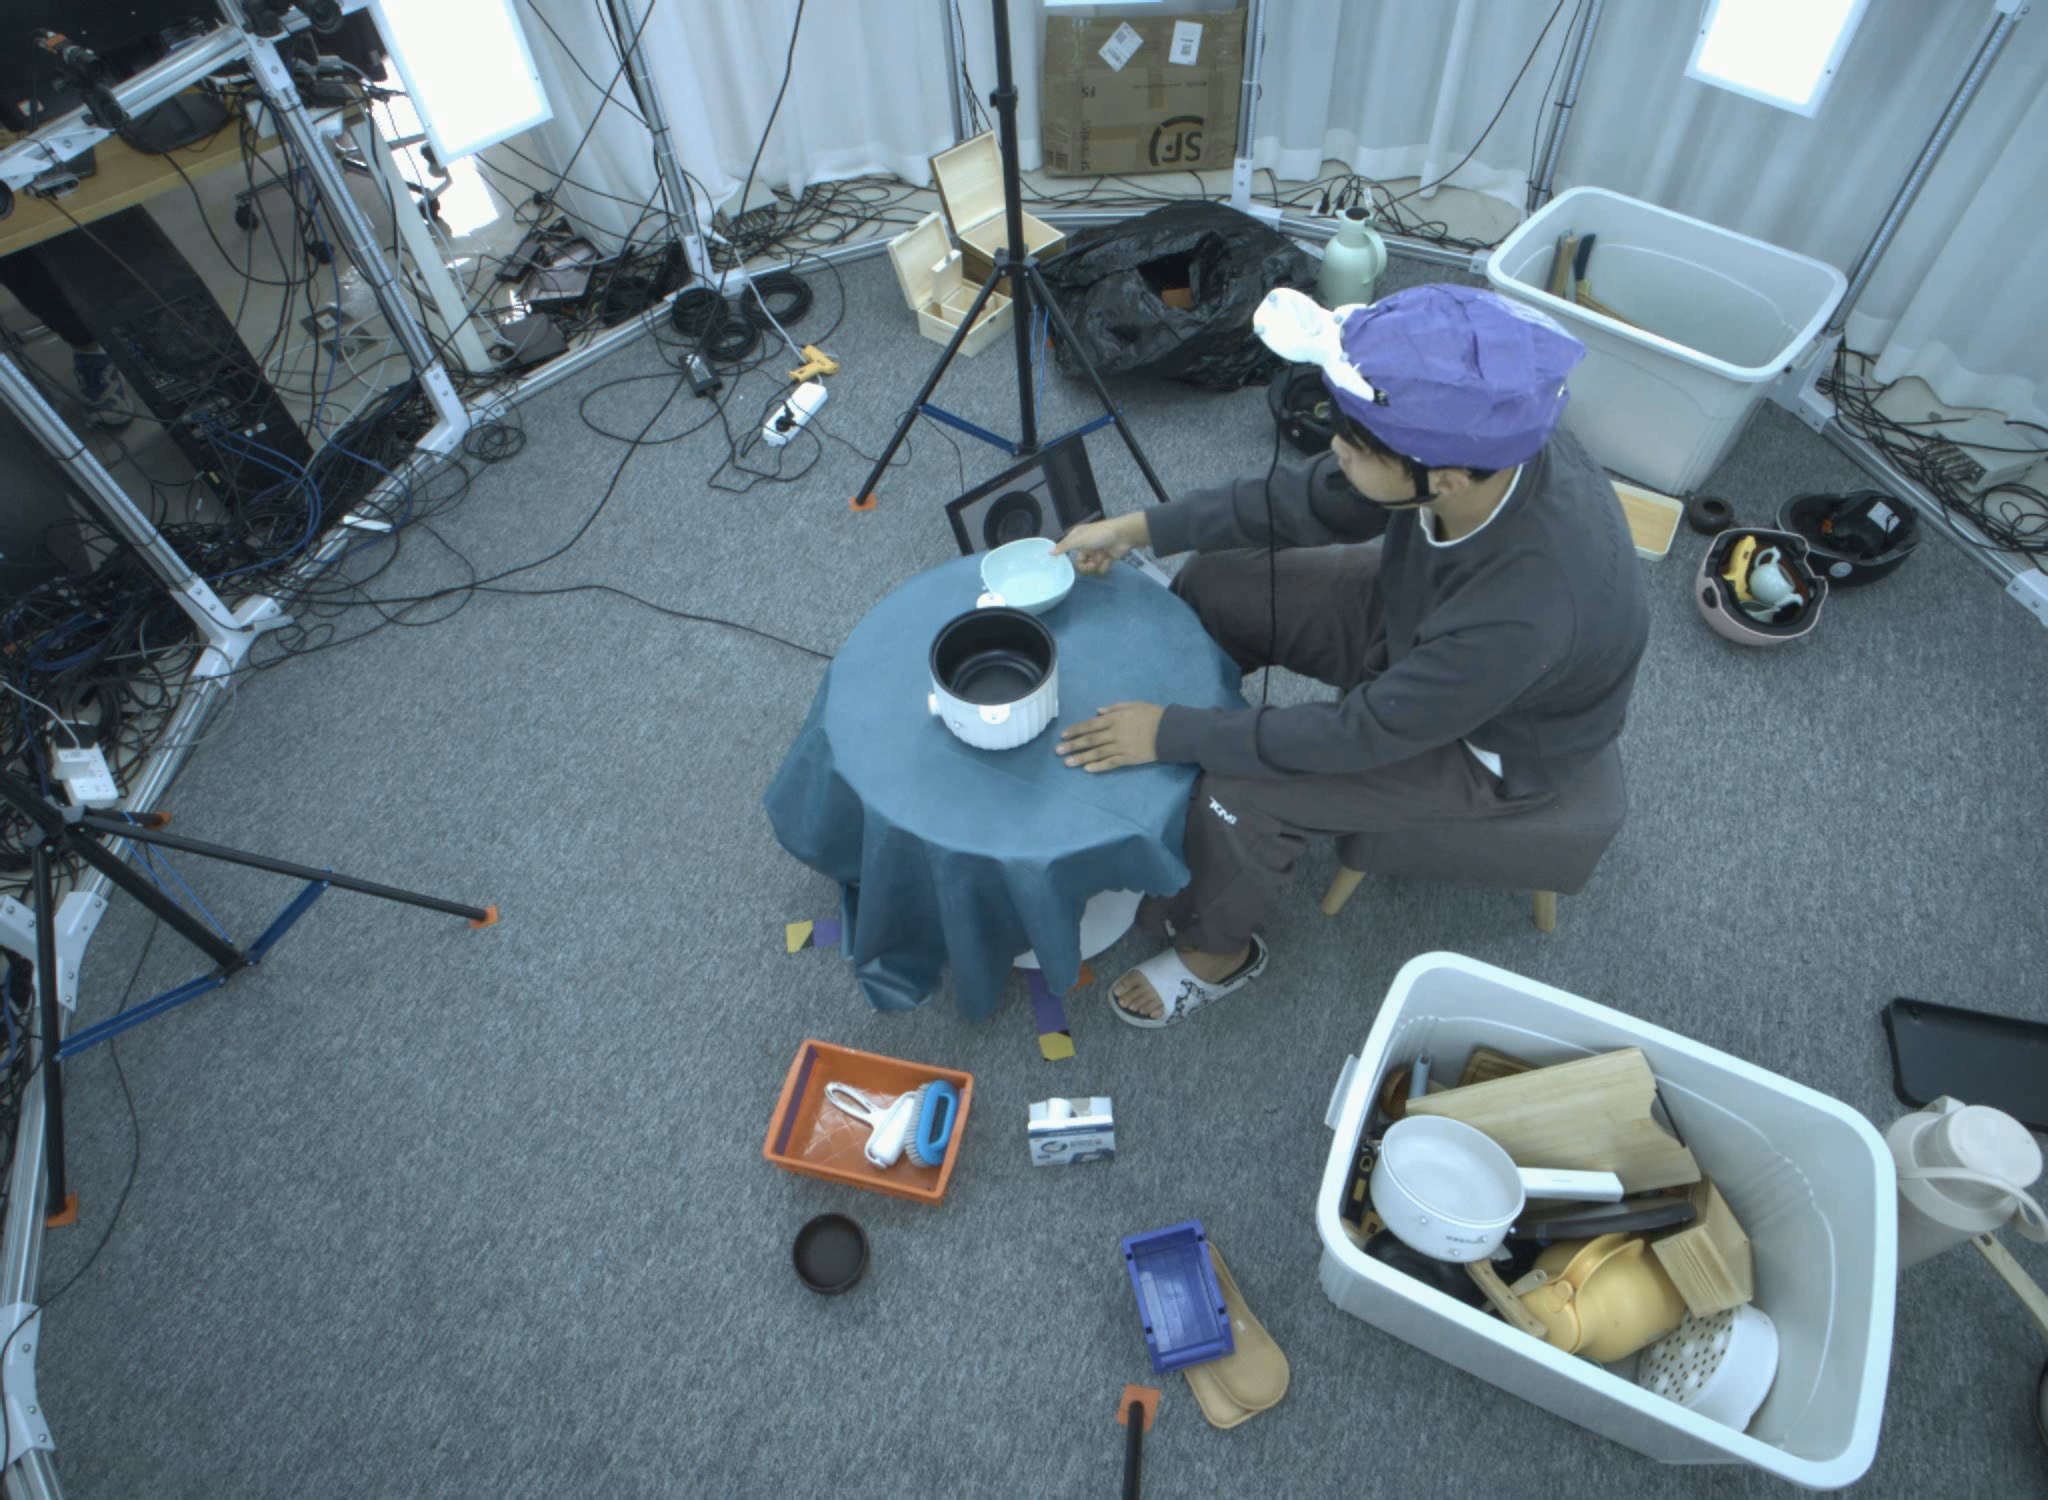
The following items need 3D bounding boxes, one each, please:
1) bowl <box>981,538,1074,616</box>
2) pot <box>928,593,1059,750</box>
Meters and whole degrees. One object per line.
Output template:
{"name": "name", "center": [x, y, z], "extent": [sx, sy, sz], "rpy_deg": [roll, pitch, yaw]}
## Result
{"name": "bowl", "center": [0.007, -0.263, 1.939], "extent": [0.151, 0.059, 0.150], "rpy_deg": [-1, 55, 3]}
{"name": "pot", "center": [-0.045, -0.095, 1.769], "extent": [0.191, 0.144, 0.237], "rpy_deg": [-3, 53, -4]}
